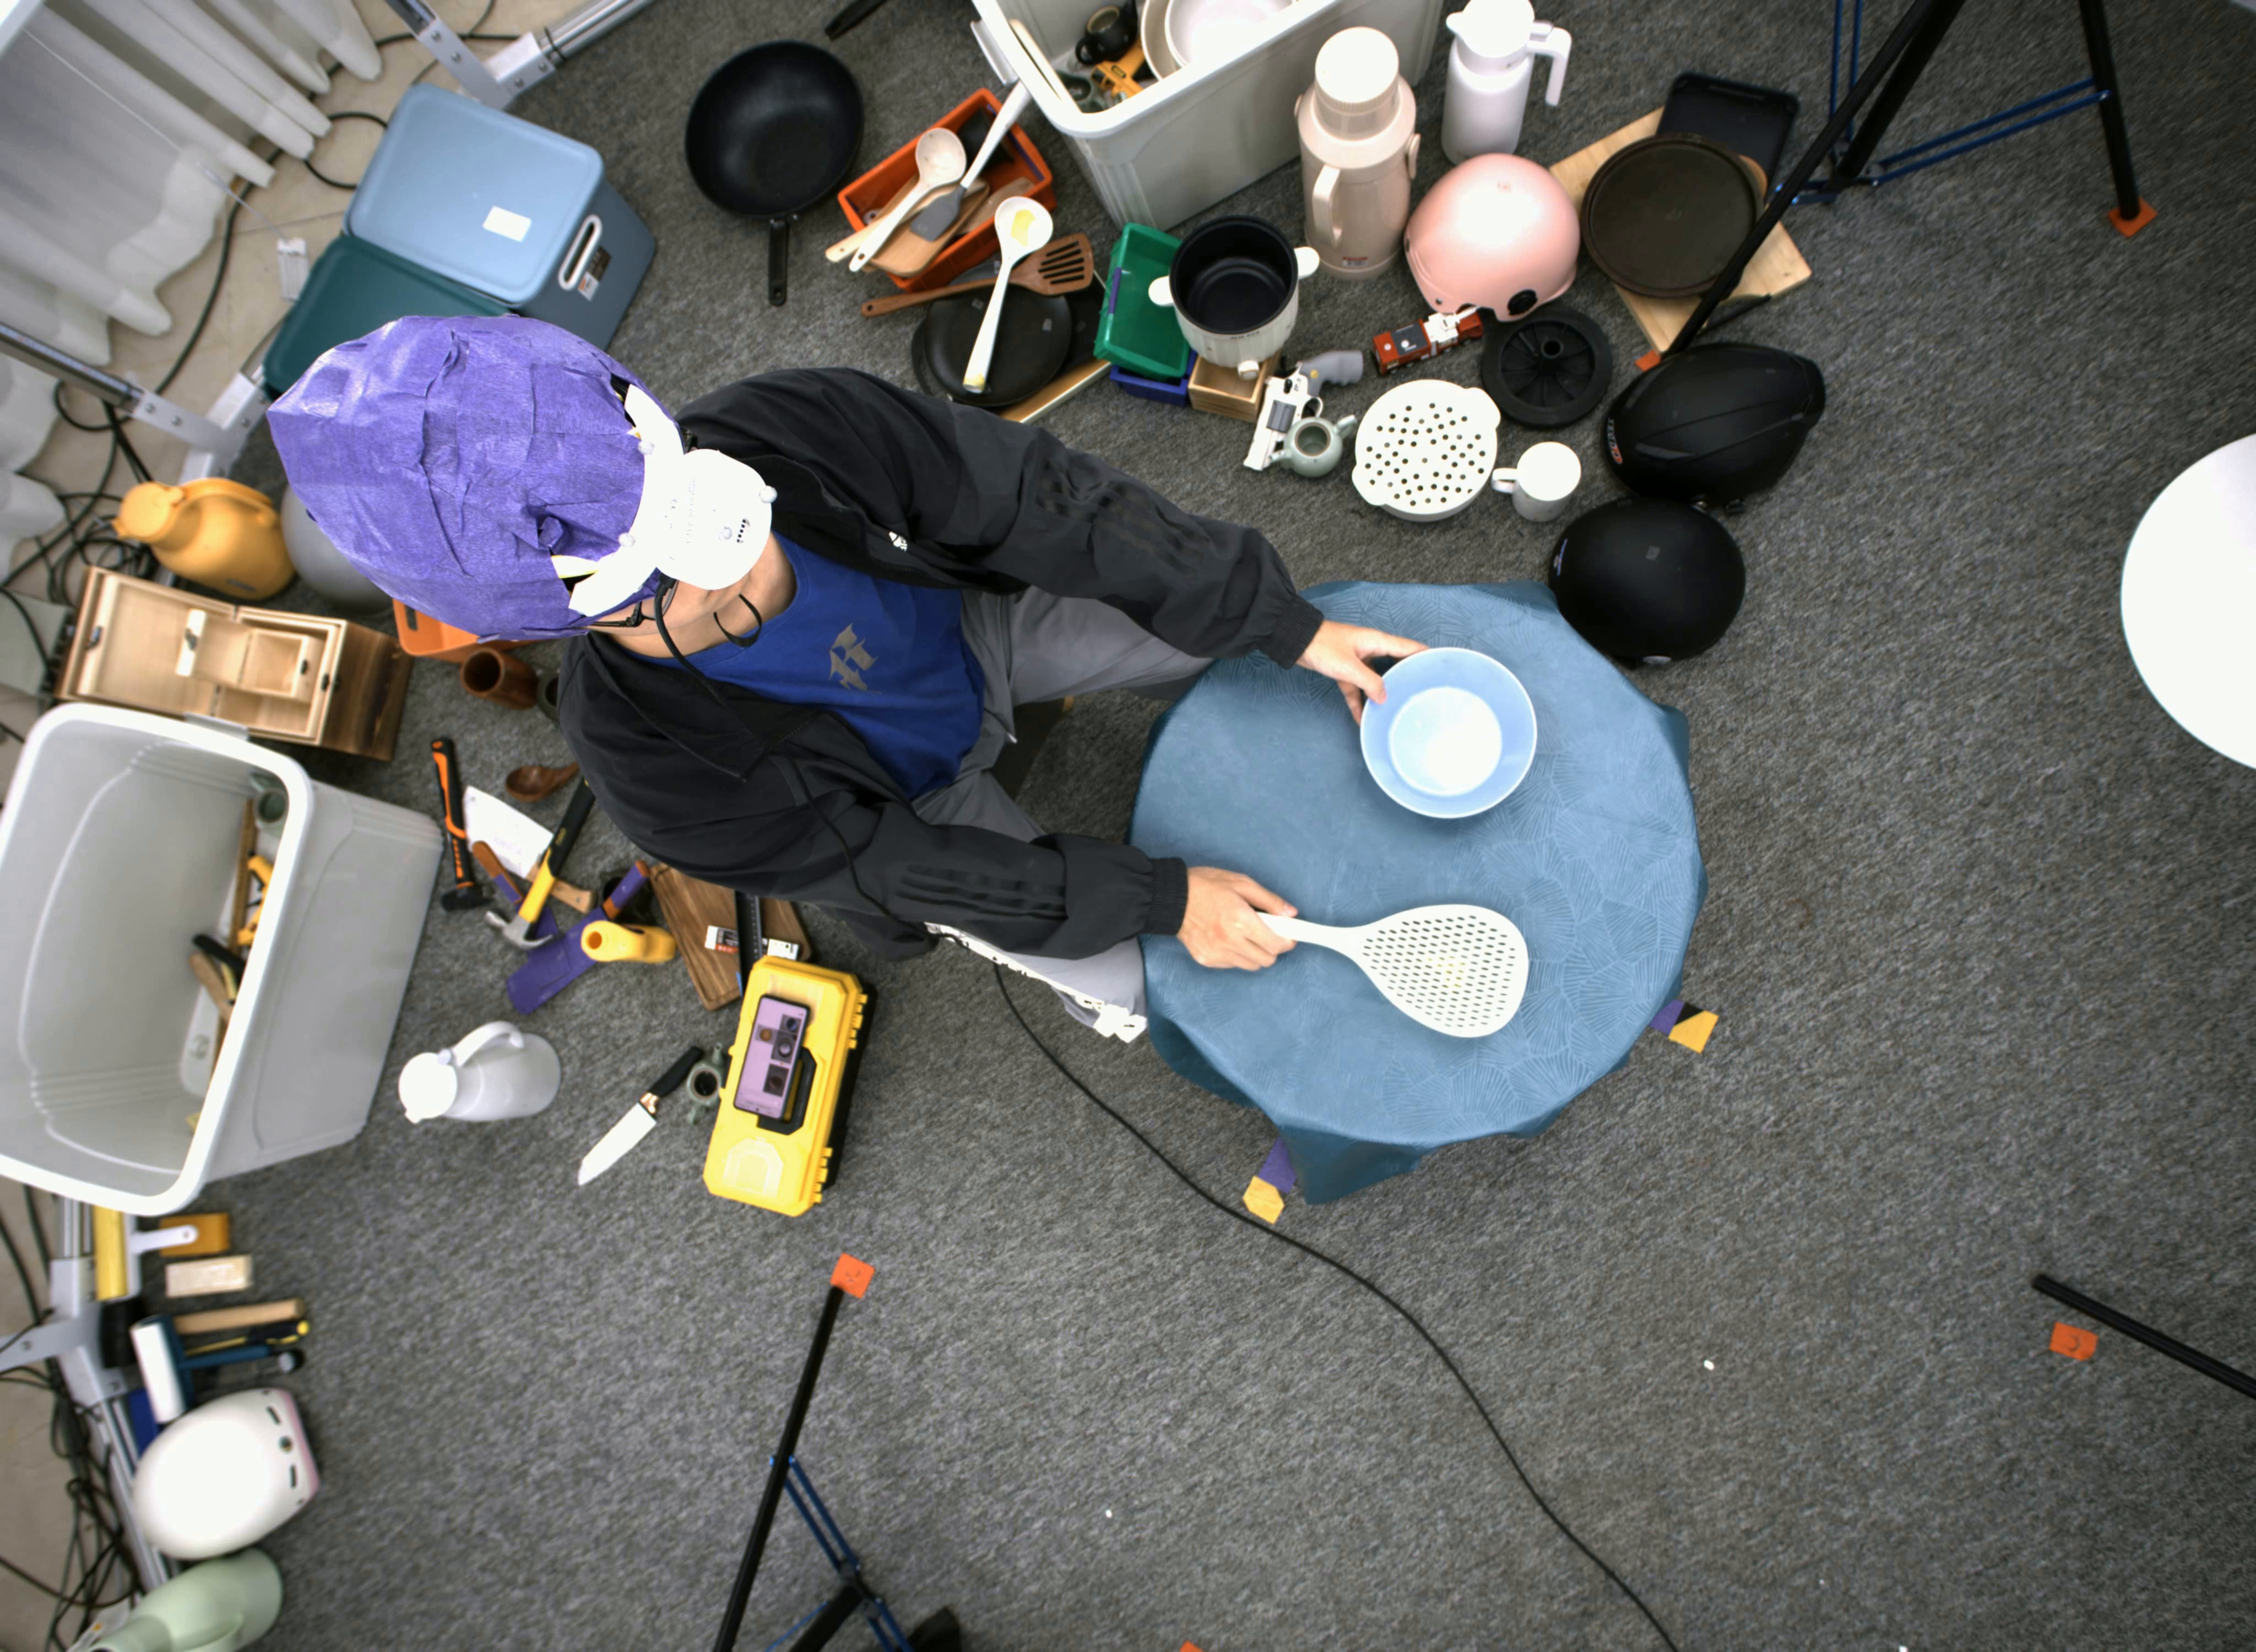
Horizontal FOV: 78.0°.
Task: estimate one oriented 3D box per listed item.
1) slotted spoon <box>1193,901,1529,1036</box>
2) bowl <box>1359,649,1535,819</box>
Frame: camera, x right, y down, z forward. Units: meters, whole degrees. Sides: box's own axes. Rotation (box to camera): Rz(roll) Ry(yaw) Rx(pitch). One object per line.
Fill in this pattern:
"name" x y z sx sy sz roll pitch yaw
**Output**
"slotted spoon" 0.236 0.125 1.436 0.348 0.050 0.136 11 82 10
"bowl" 0.327 -0.092 1.419 0.177 0.070 0.175 -1 86 10
